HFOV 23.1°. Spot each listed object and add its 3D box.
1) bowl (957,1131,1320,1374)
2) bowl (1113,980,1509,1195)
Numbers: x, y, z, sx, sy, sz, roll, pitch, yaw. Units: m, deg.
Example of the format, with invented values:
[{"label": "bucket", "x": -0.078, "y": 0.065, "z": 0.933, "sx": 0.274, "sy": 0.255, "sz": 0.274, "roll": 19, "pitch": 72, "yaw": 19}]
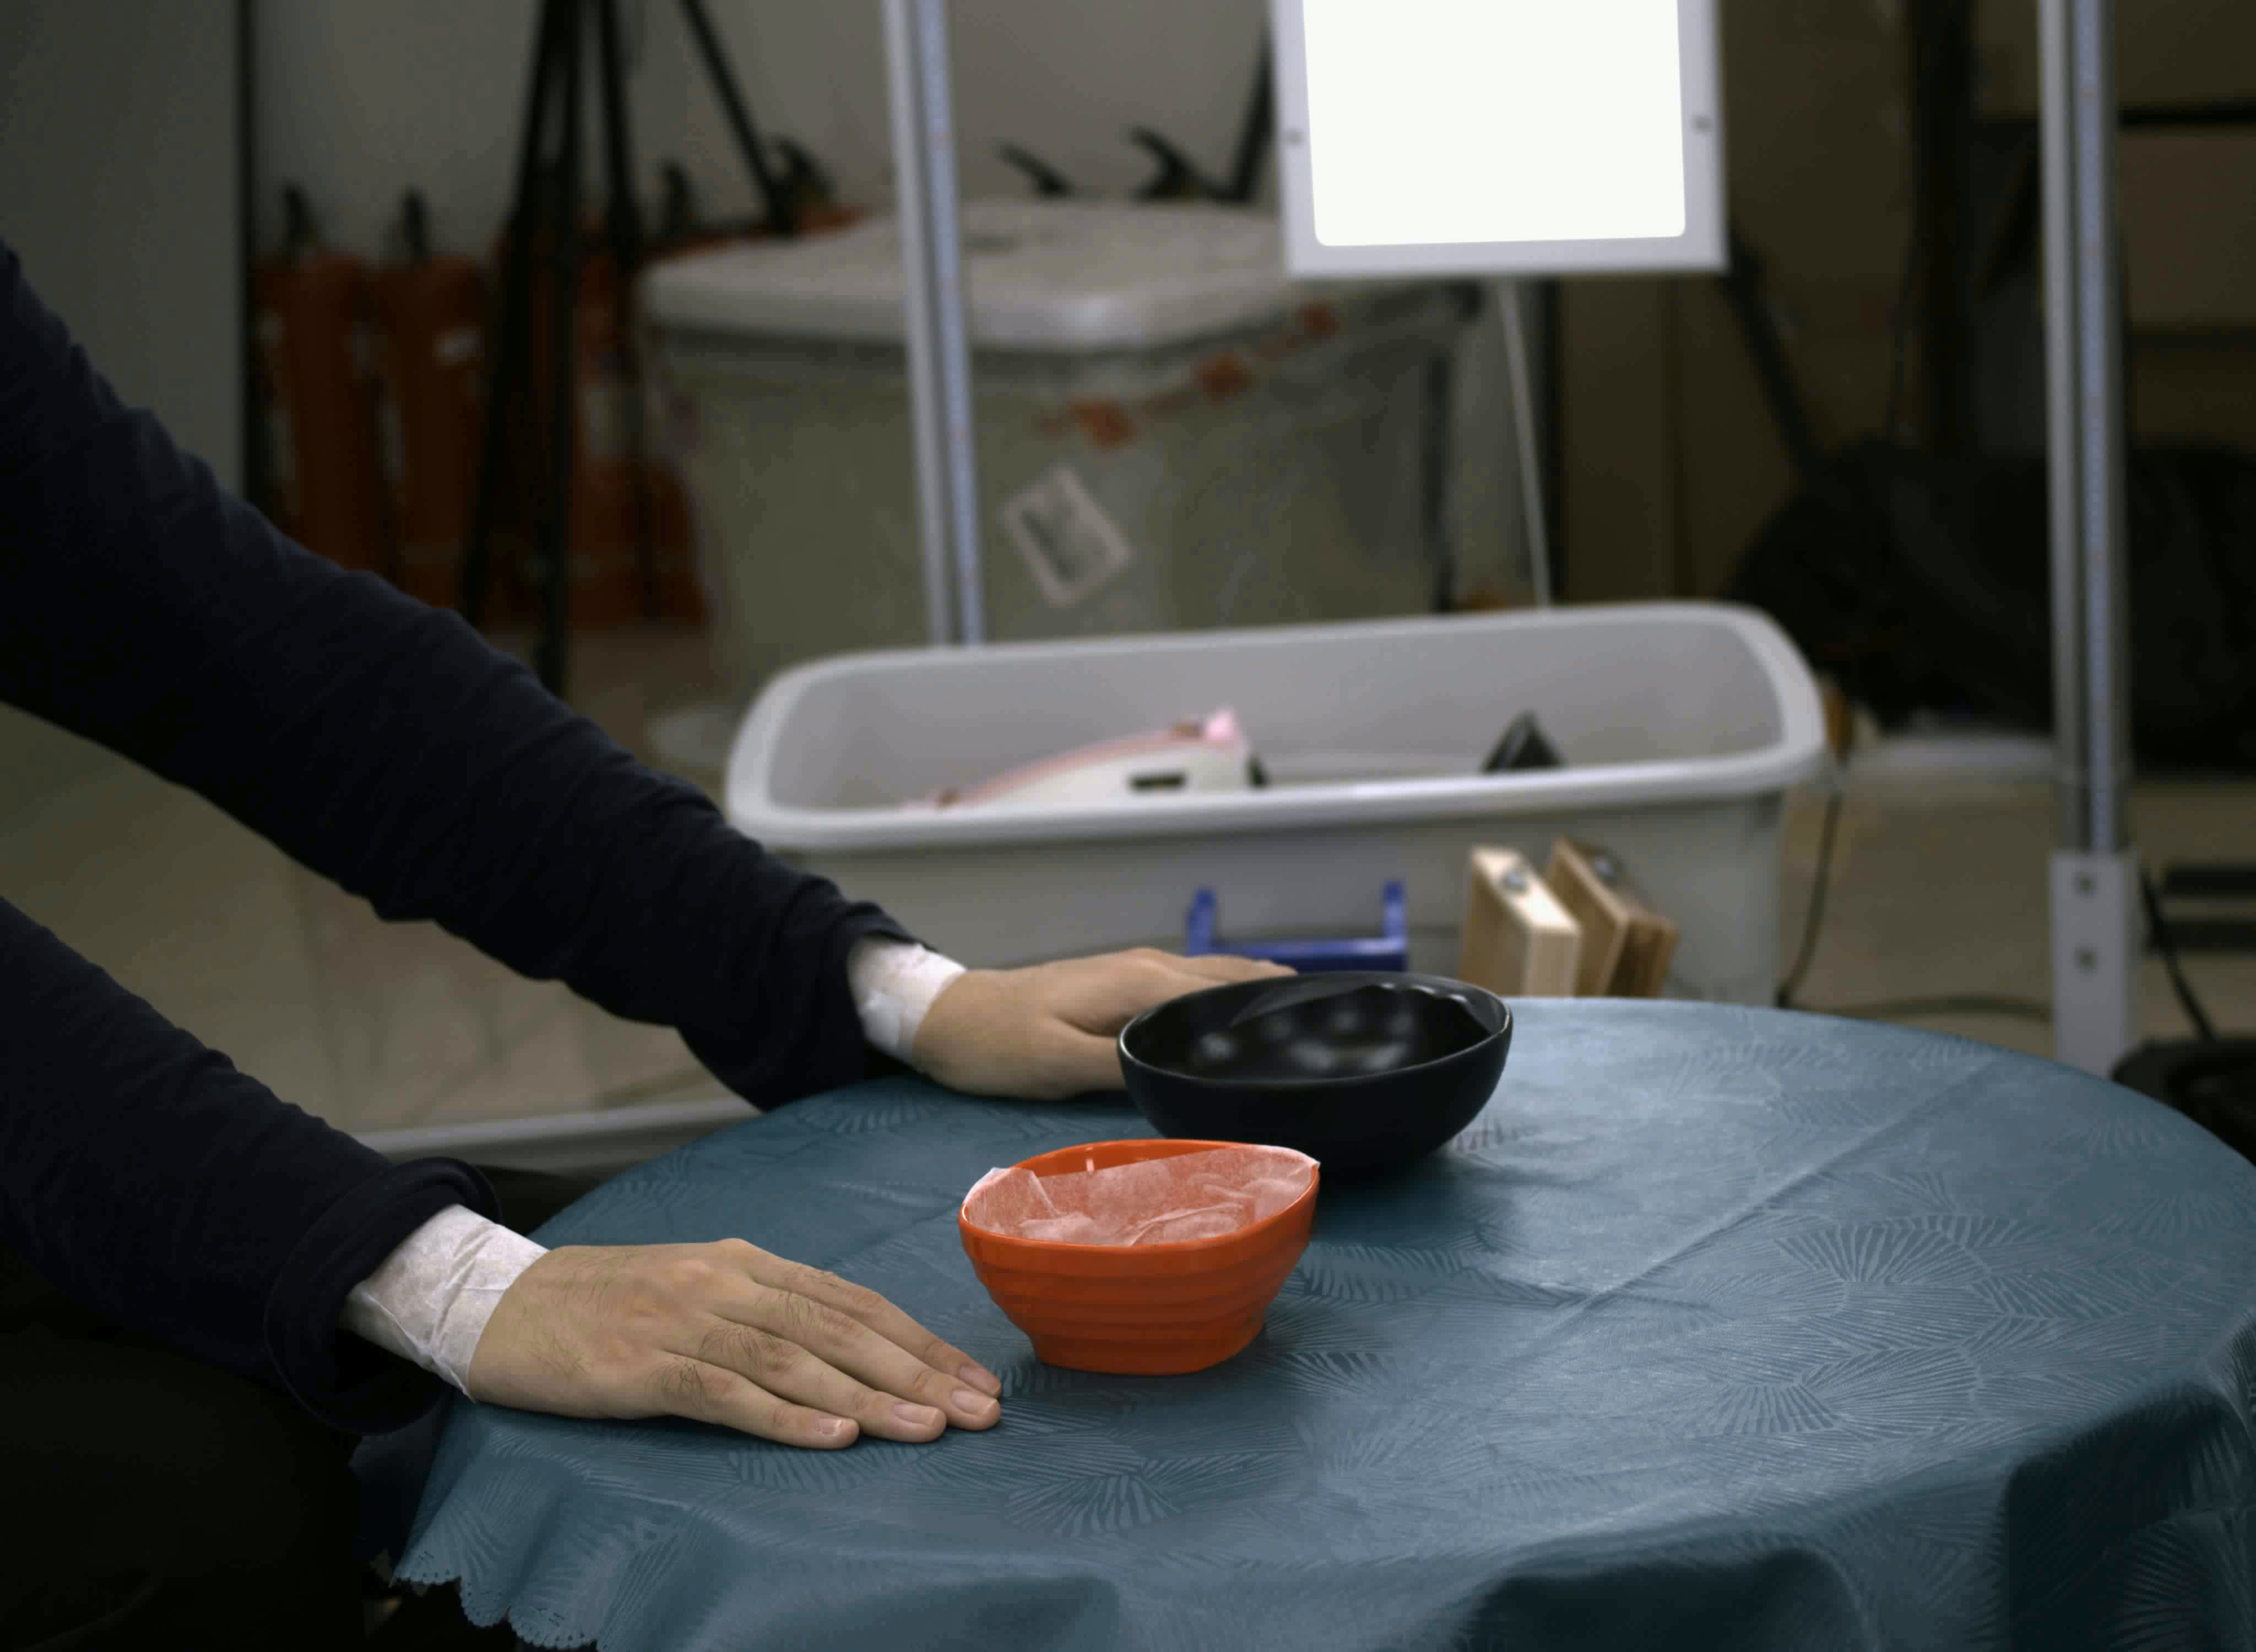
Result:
[{"label": "bowl", "x": 0.005, "y": 0.137, "z": 1.745, "sx": 0.118, "sy": 0.051, "sz": 0.119, "roll": -4, "pitch": 15, "yaw": 0}, {"label": "bowl", "x": 0.067, "y": 0.095, "z": 1.916, "sx": 0.140, "sy": 0.050, "sz": 0.140, "roll": -9, "pitch": 12, "yaw": 0}]
